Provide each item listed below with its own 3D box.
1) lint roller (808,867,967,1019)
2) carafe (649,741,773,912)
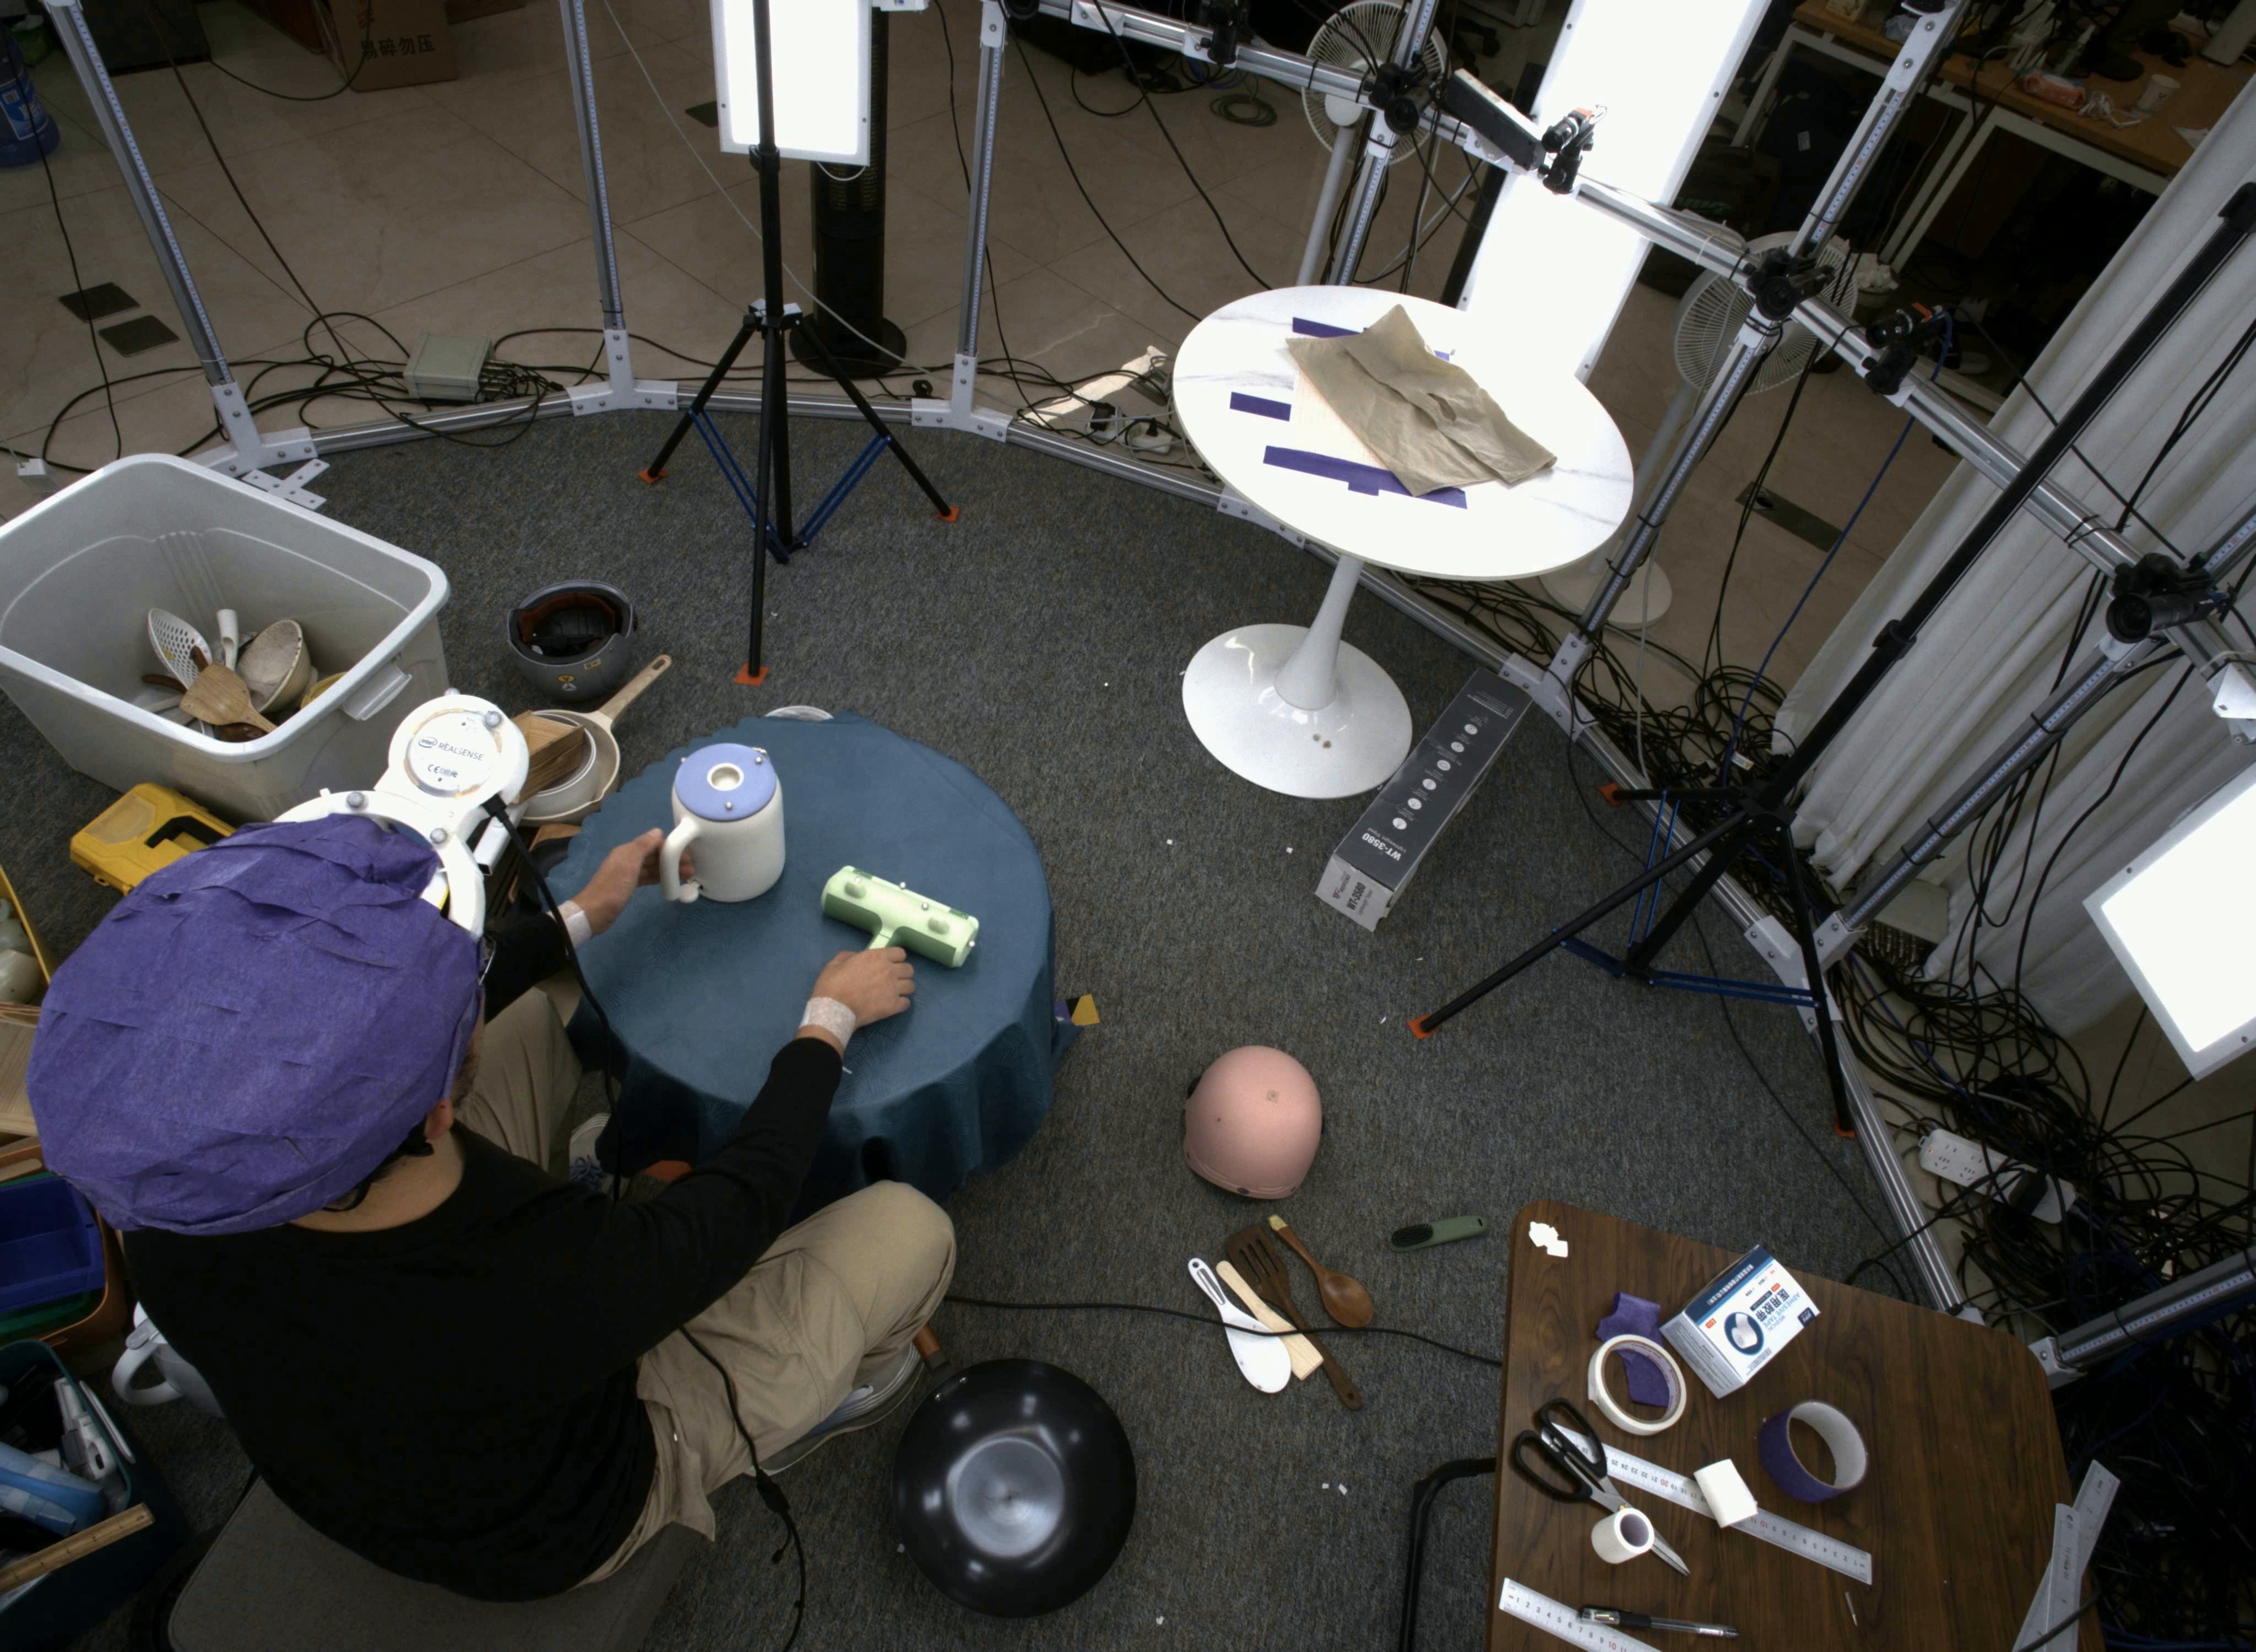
[{"bbox_3d":[-0.320,0.144,1.589,0.196,0.084,0.181,21,49,4],"label":"lint roller"},{"bbox_3d":[-0.519,0.013,1.573,0.130,0.186,0.190,27,54,10],"label":"carafe"}]
